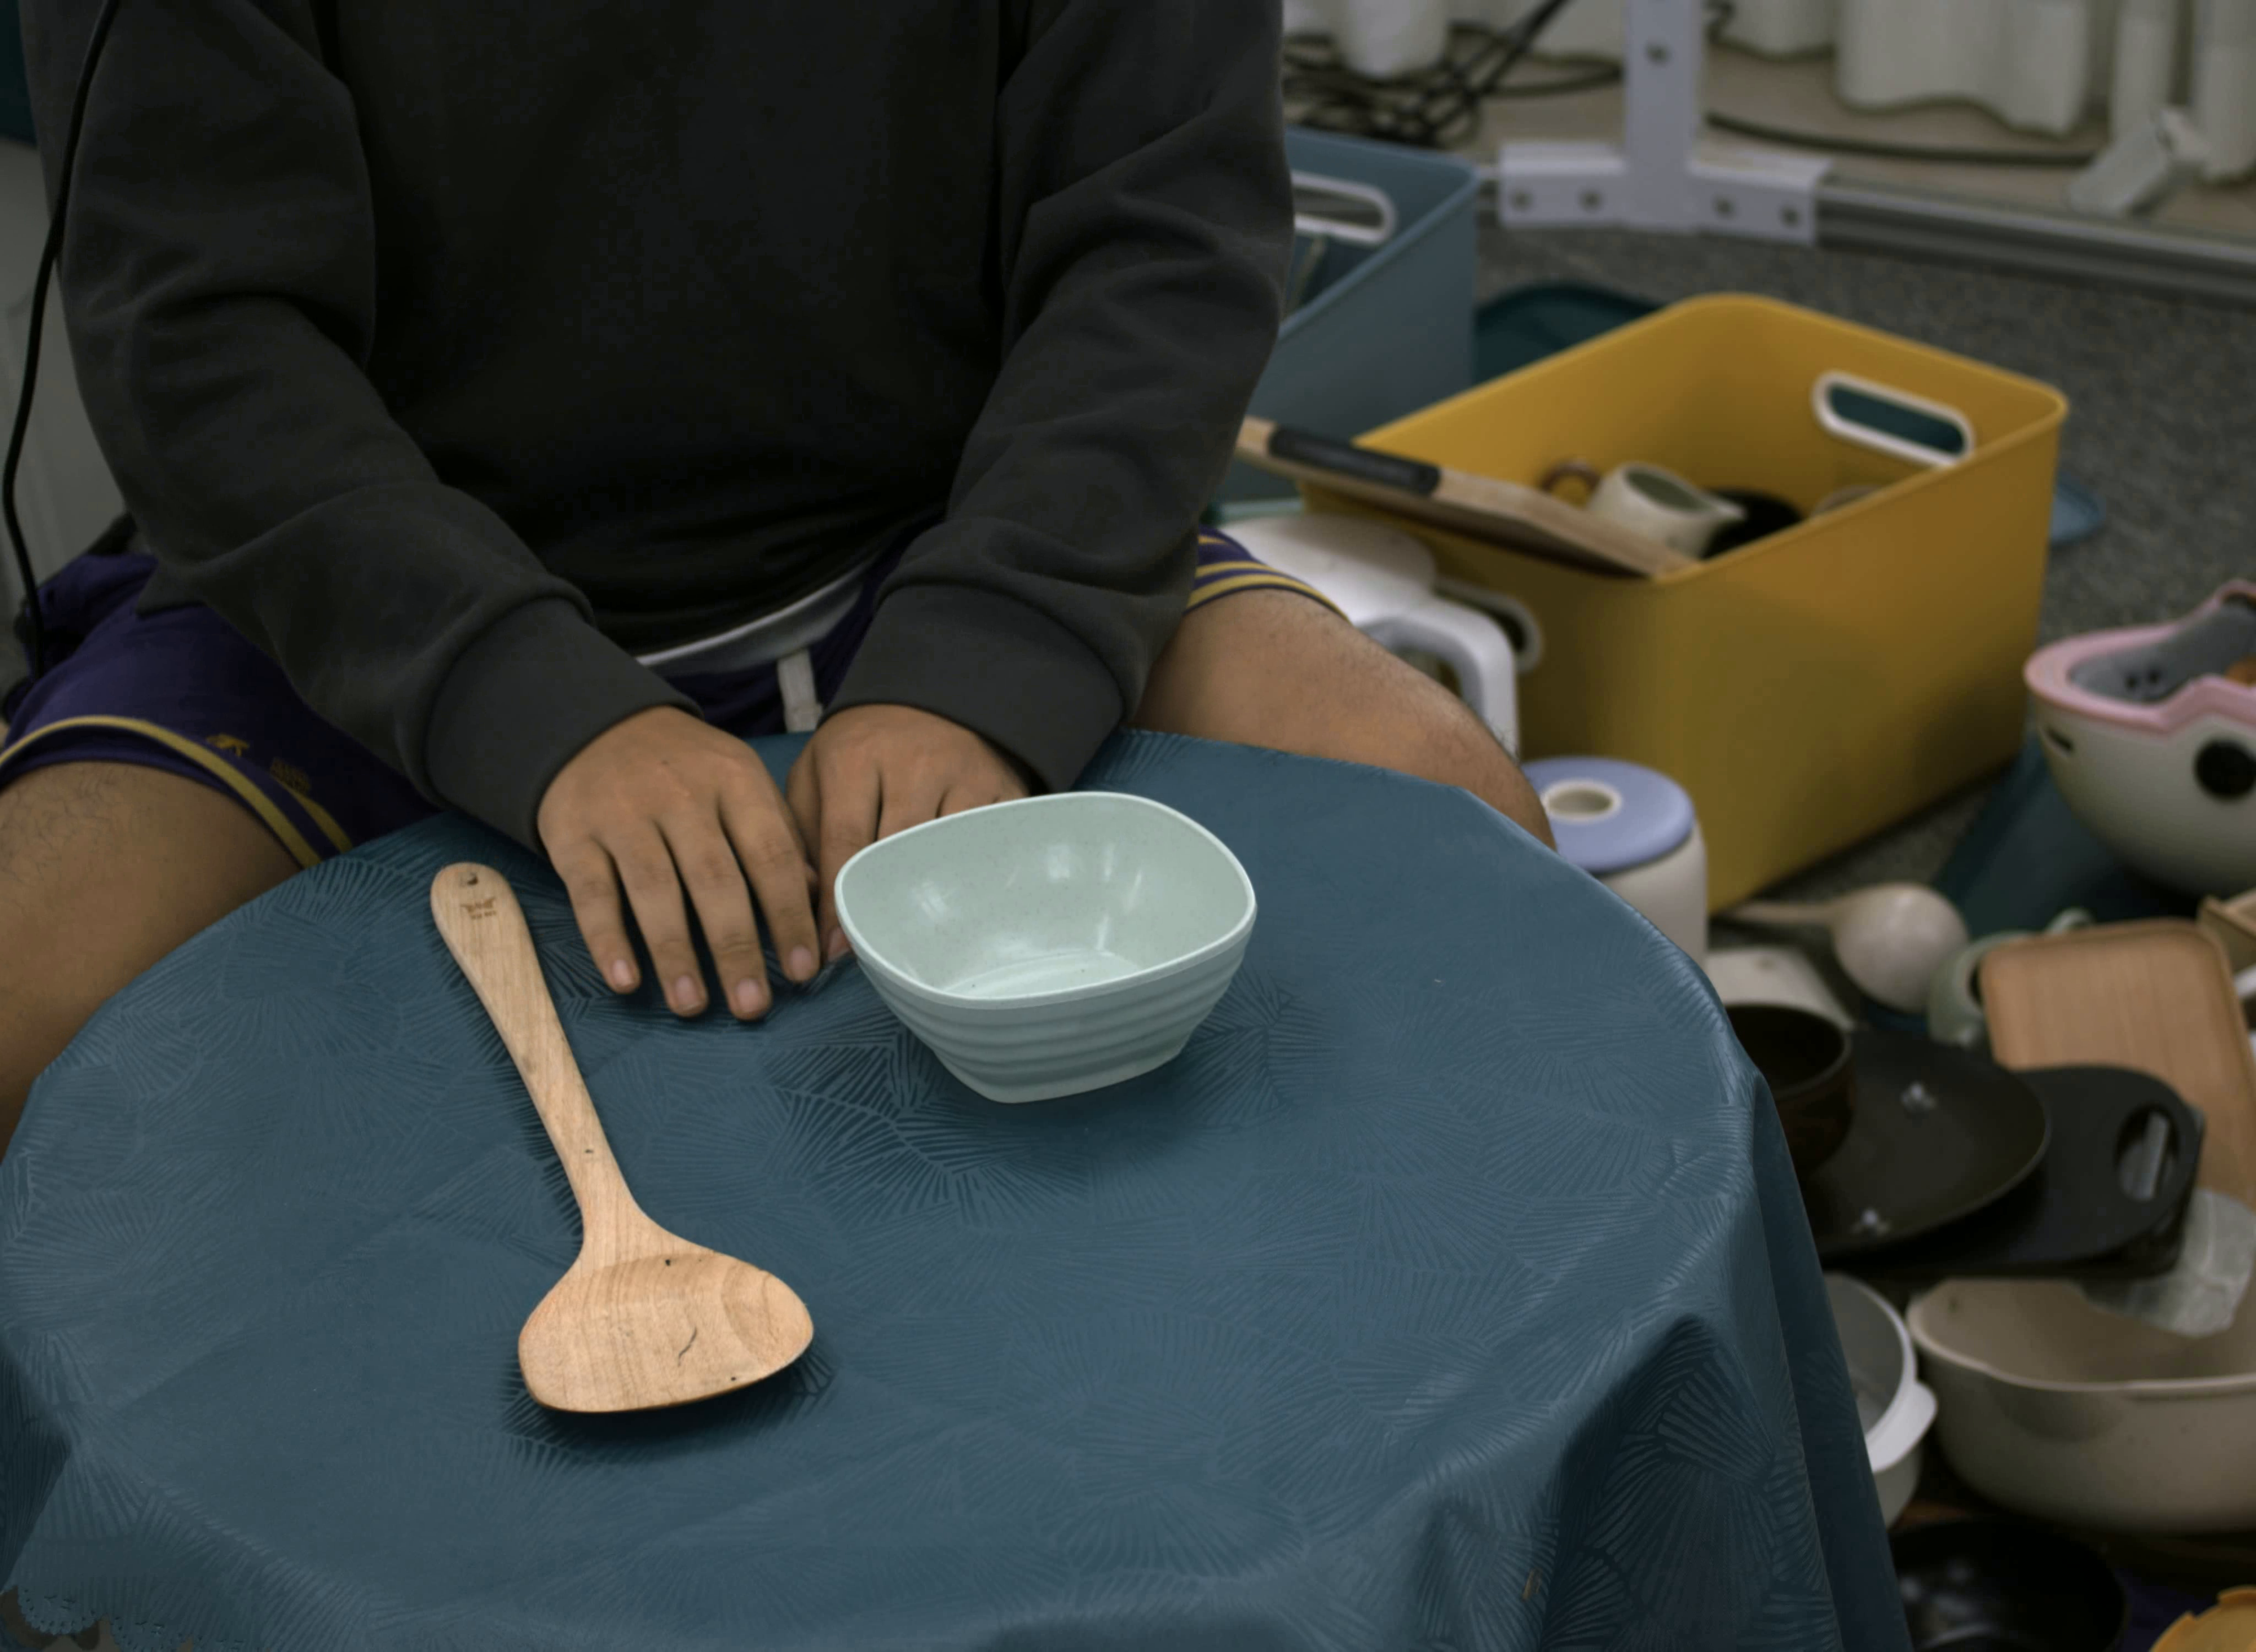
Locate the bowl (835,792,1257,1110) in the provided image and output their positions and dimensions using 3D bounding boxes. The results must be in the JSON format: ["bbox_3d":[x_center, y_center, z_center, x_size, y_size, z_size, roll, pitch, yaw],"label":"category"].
[{"bbox_3d":[-0.028,0.049,1.947,0.151,0.058,0.154,-1,29,1],"label":"bowl"}]

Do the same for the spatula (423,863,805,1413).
[{"bbox_3d":[-0.197,0.099,1.905,0.096,0.018,0.394,-9,28,-15],"label":"spatula"}]
